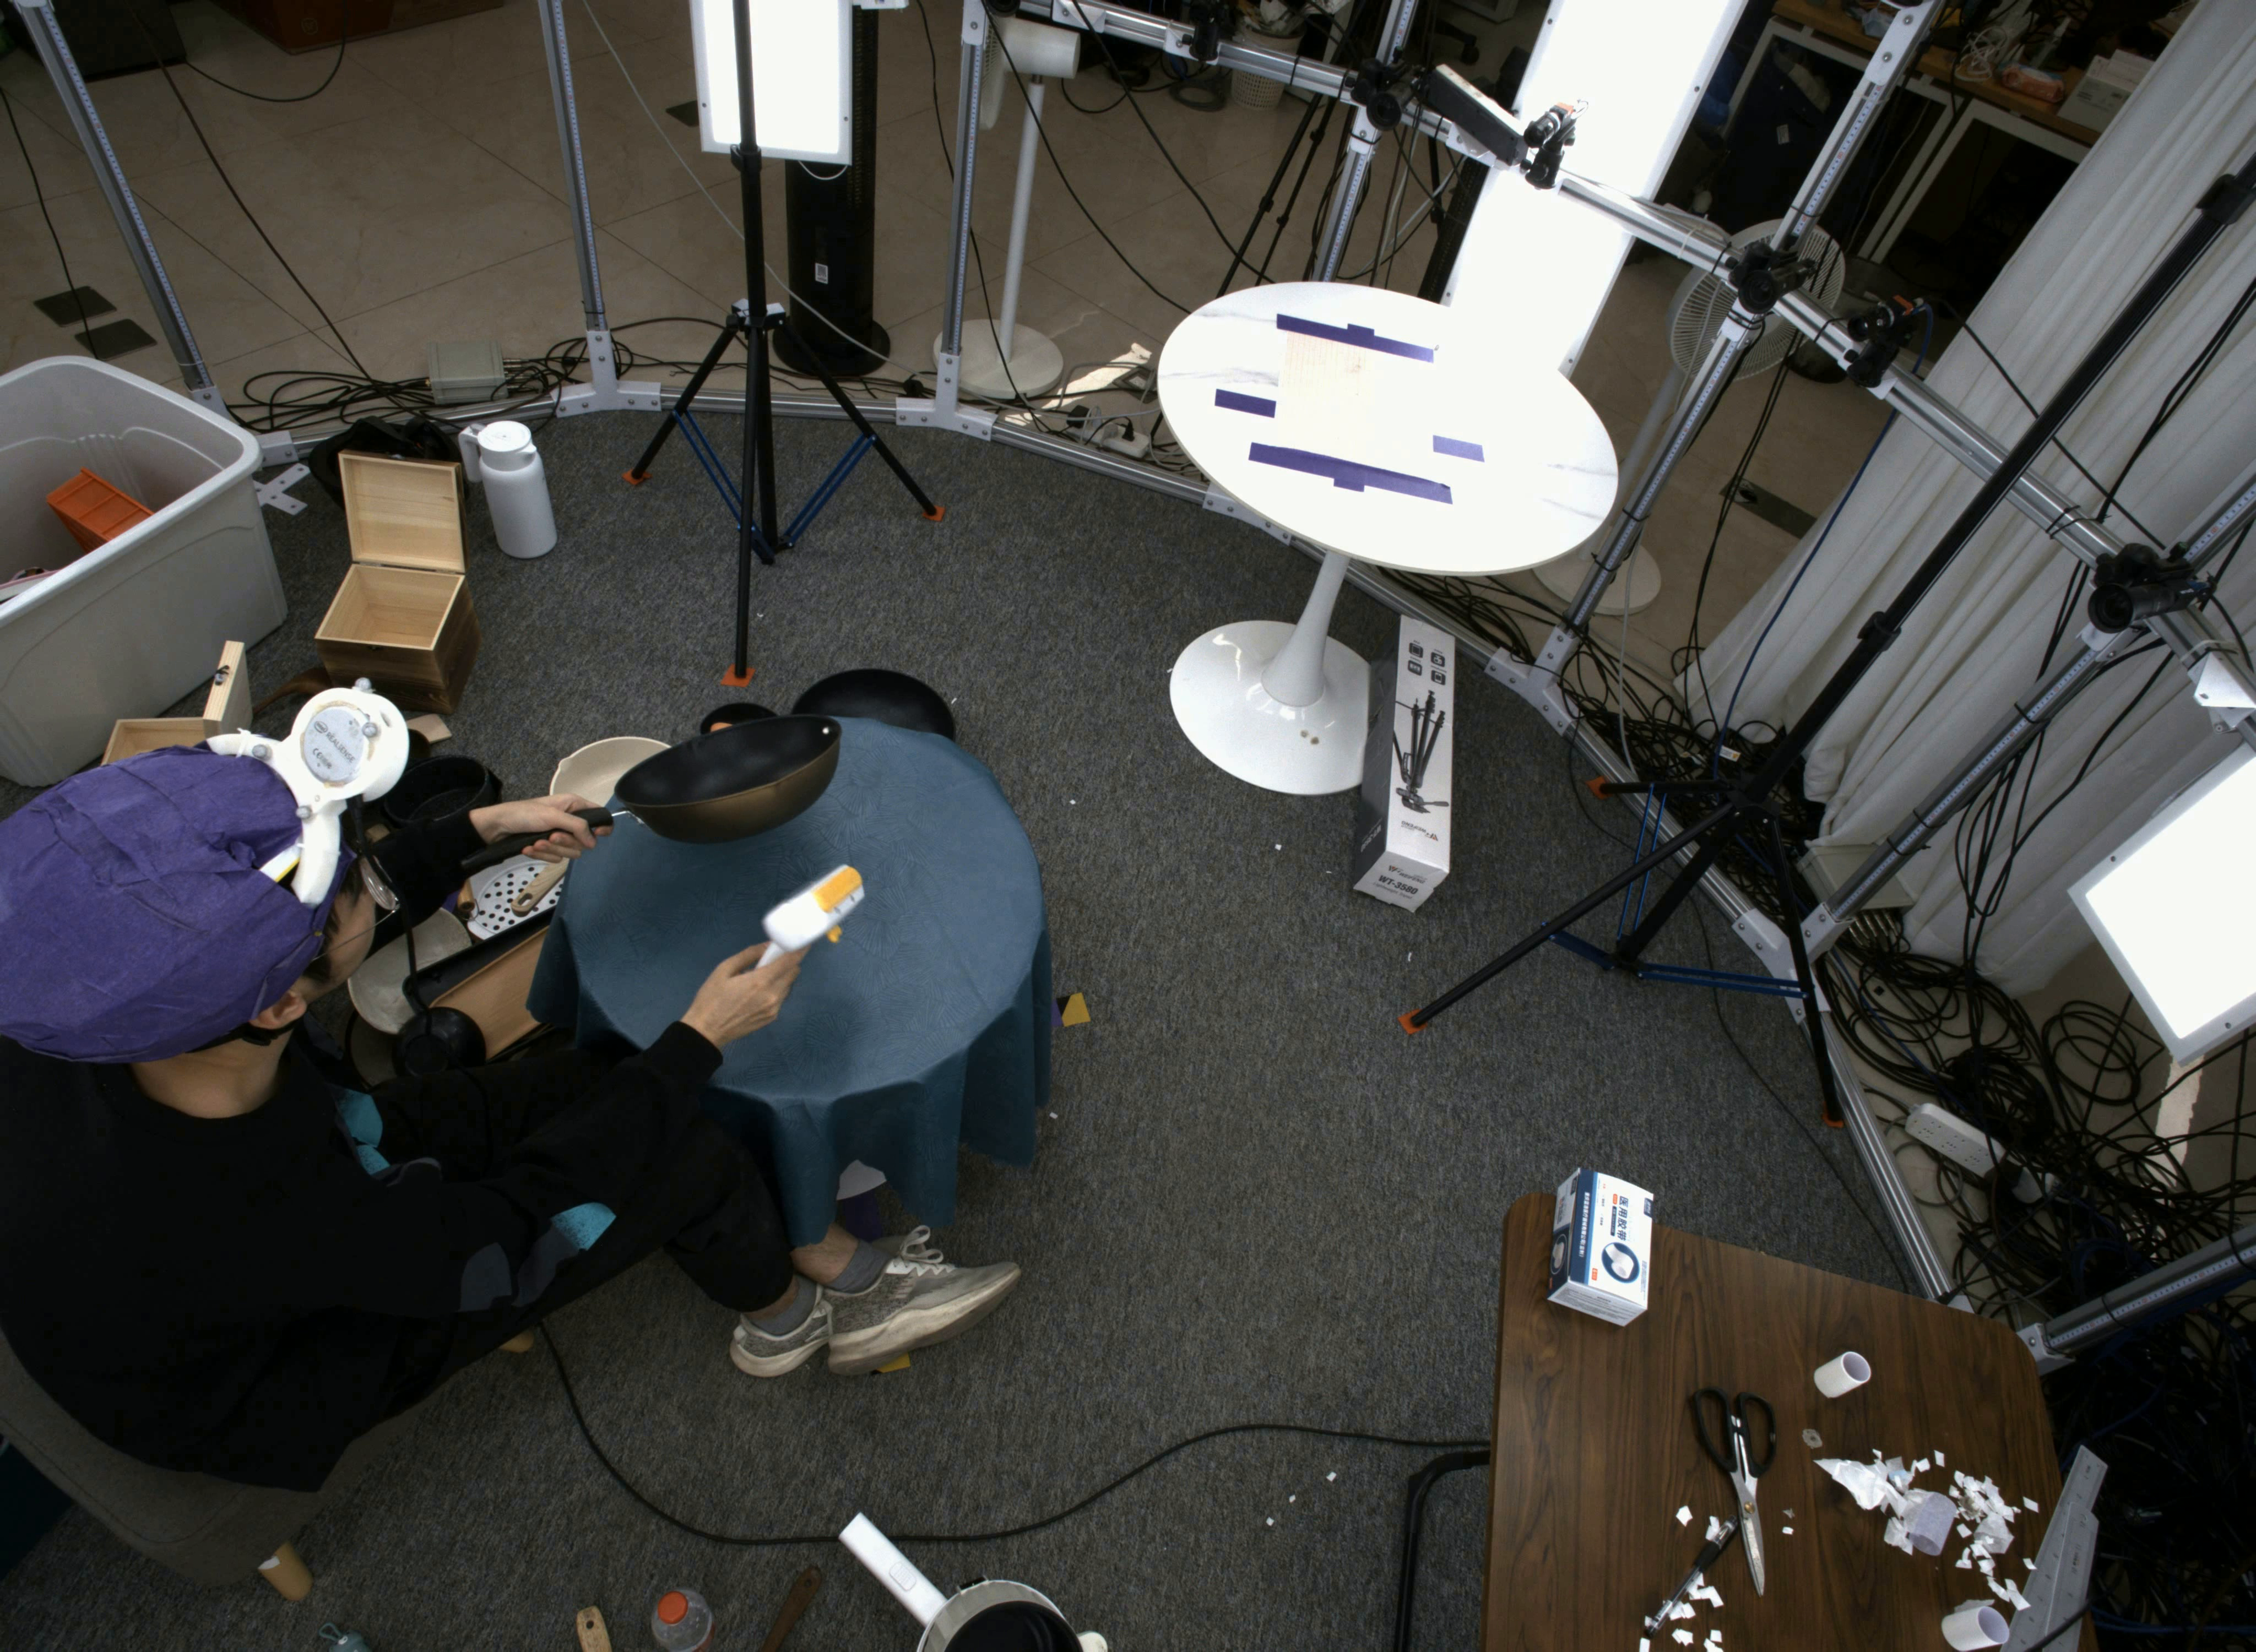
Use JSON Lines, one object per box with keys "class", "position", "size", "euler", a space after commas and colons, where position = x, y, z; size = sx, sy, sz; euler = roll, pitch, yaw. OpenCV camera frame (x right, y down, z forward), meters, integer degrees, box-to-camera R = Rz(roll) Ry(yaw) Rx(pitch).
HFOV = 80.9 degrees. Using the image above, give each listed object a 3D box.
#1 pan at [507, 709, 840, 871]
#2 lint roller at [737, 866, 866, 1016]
{"class": "pan", "position": [-0.547, -0.017, 1.526], "size": [0.465, 0.090, 0.277], "euler": [-26, 28, -29]}
{"class": "lint roller", "position": [-0.387, 0.133, 1.467], "size": [0.075, 0.192, 0.190], "euler": [48, 12, -11]}
